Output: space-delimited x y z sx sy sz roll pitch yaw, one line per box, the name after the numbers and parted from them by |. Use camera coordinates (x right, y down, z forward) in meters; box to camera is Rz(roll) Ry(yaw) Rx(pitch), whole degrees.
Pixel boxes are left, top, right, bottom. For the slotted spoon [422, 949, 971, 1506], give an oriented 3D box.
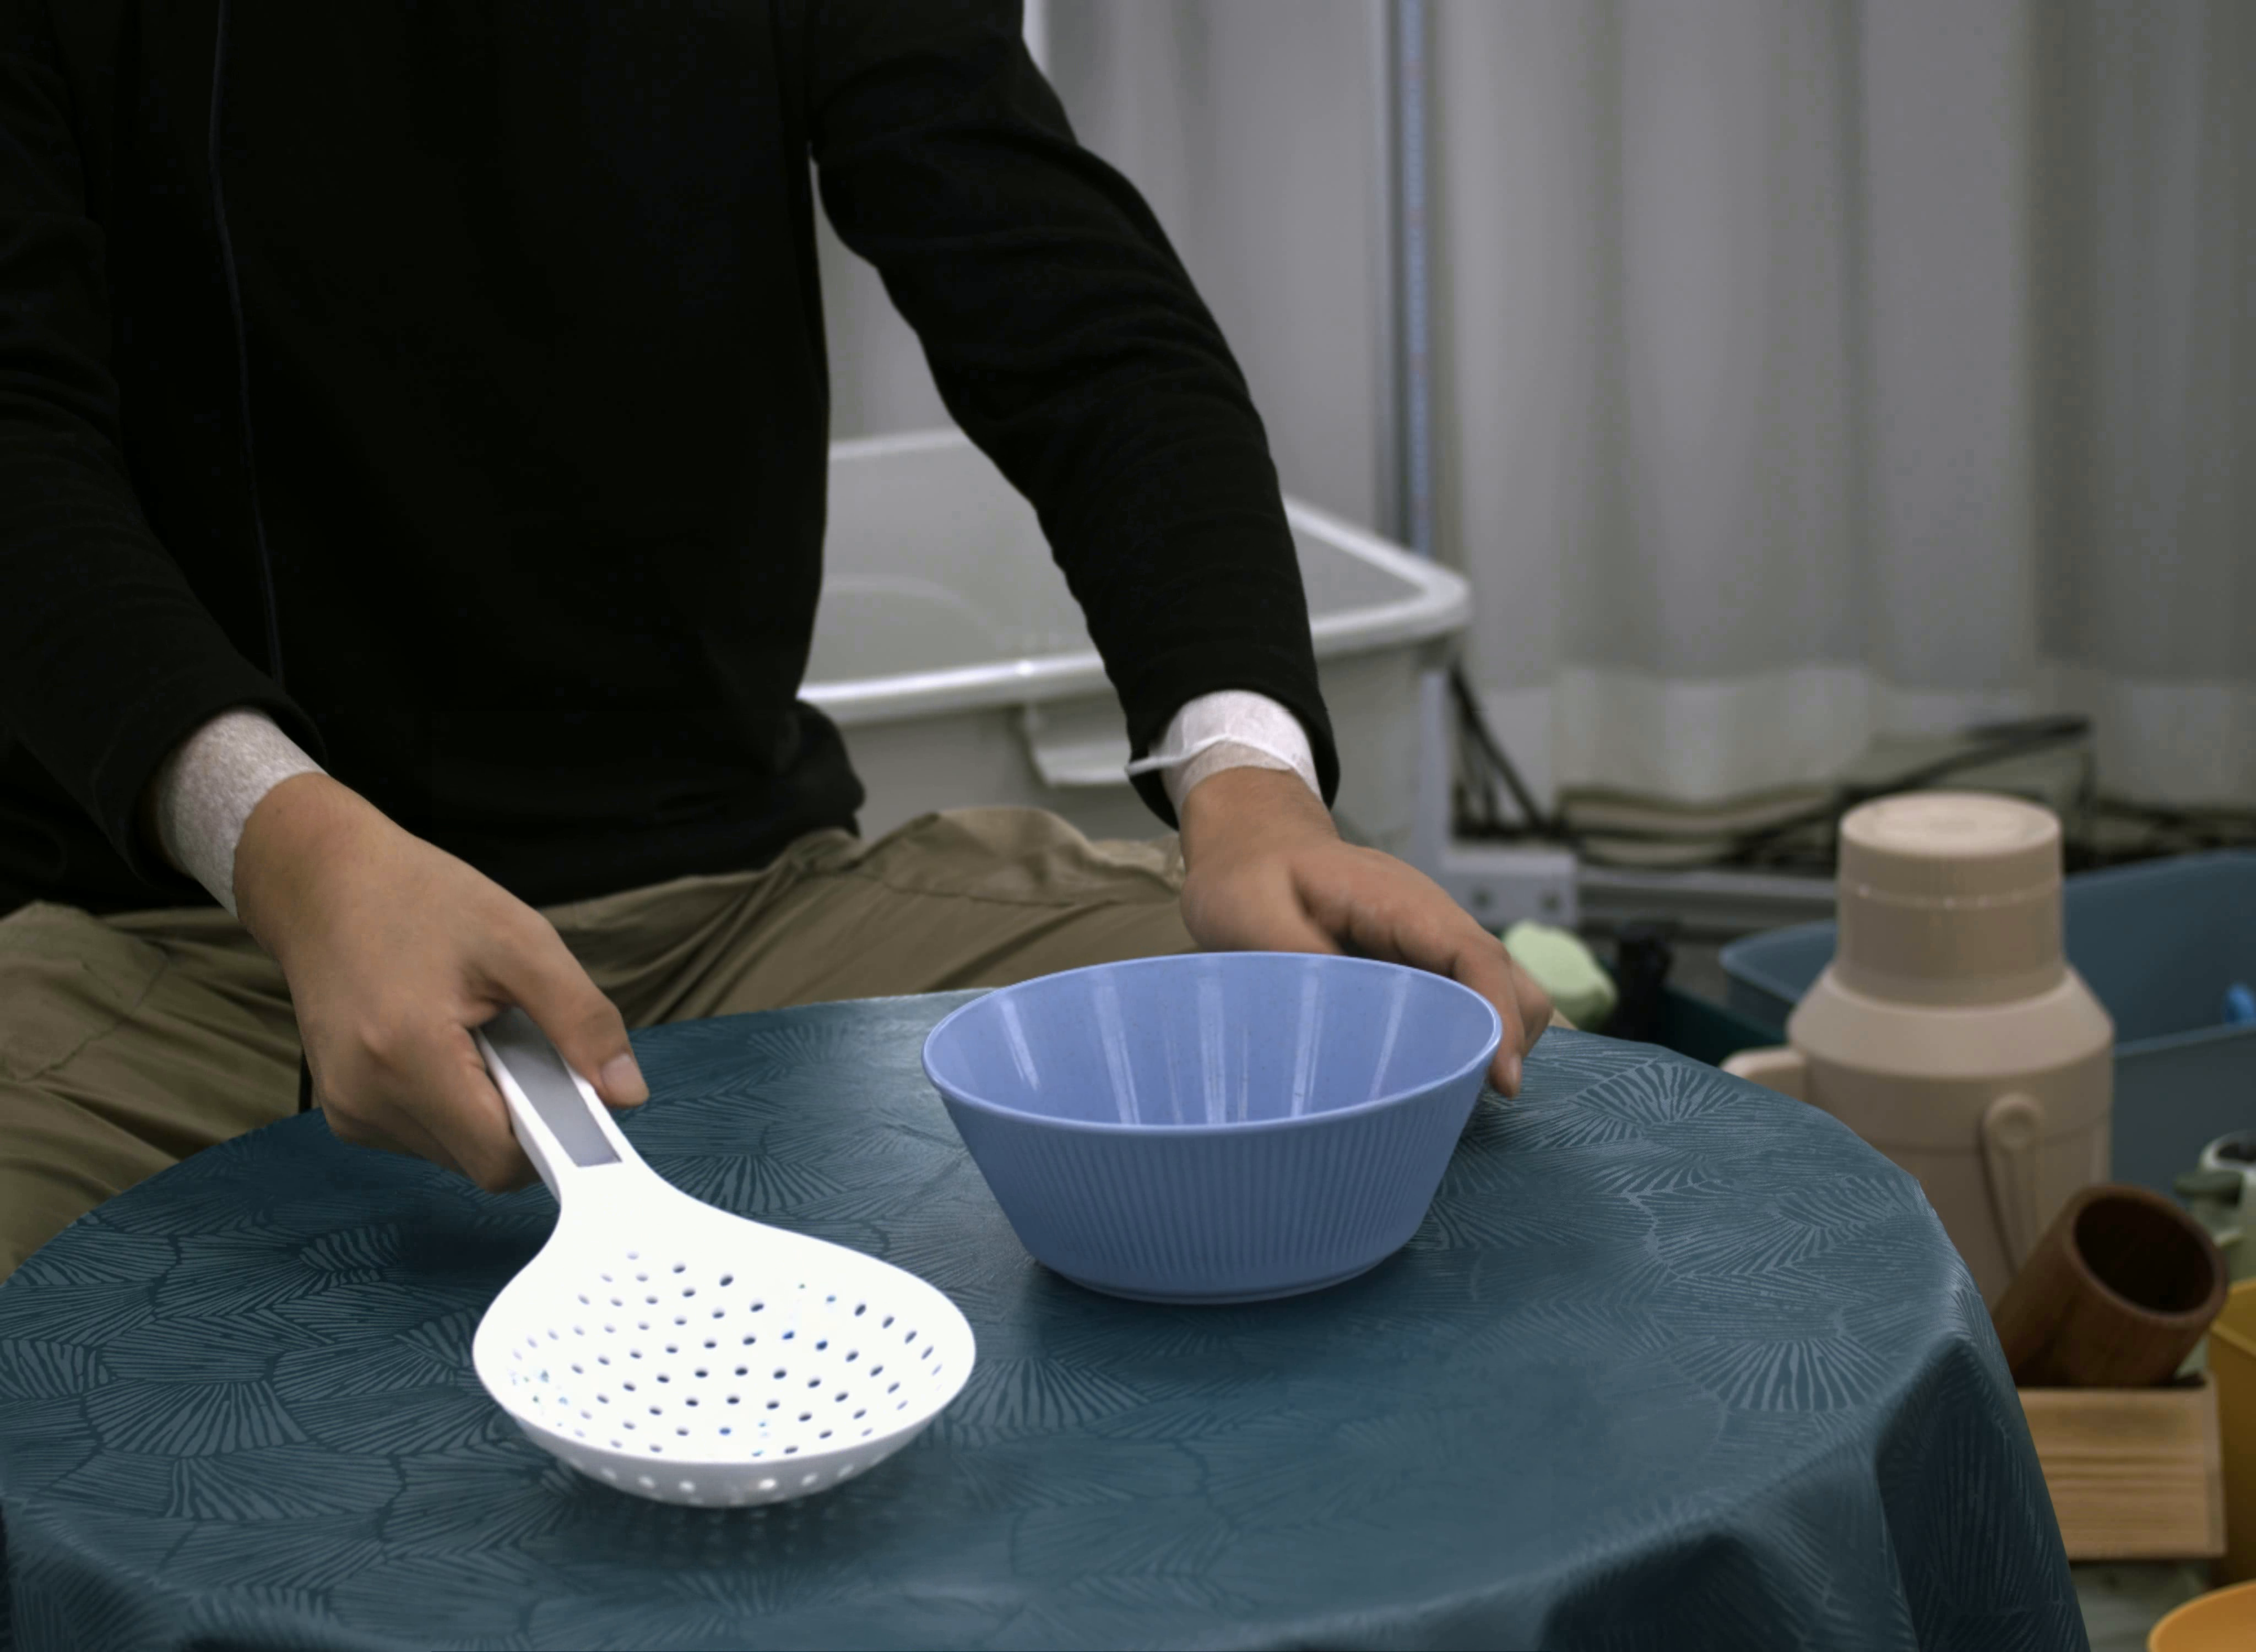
-0.150 0.108 1.578 0.135 0.045 0.354 -7 28 -20 | slotted spoon

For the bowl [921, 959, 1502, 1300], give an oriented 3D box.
0.027 0.094 1.653 0.175 0.070 0.177 -3 14 0 | bowl
